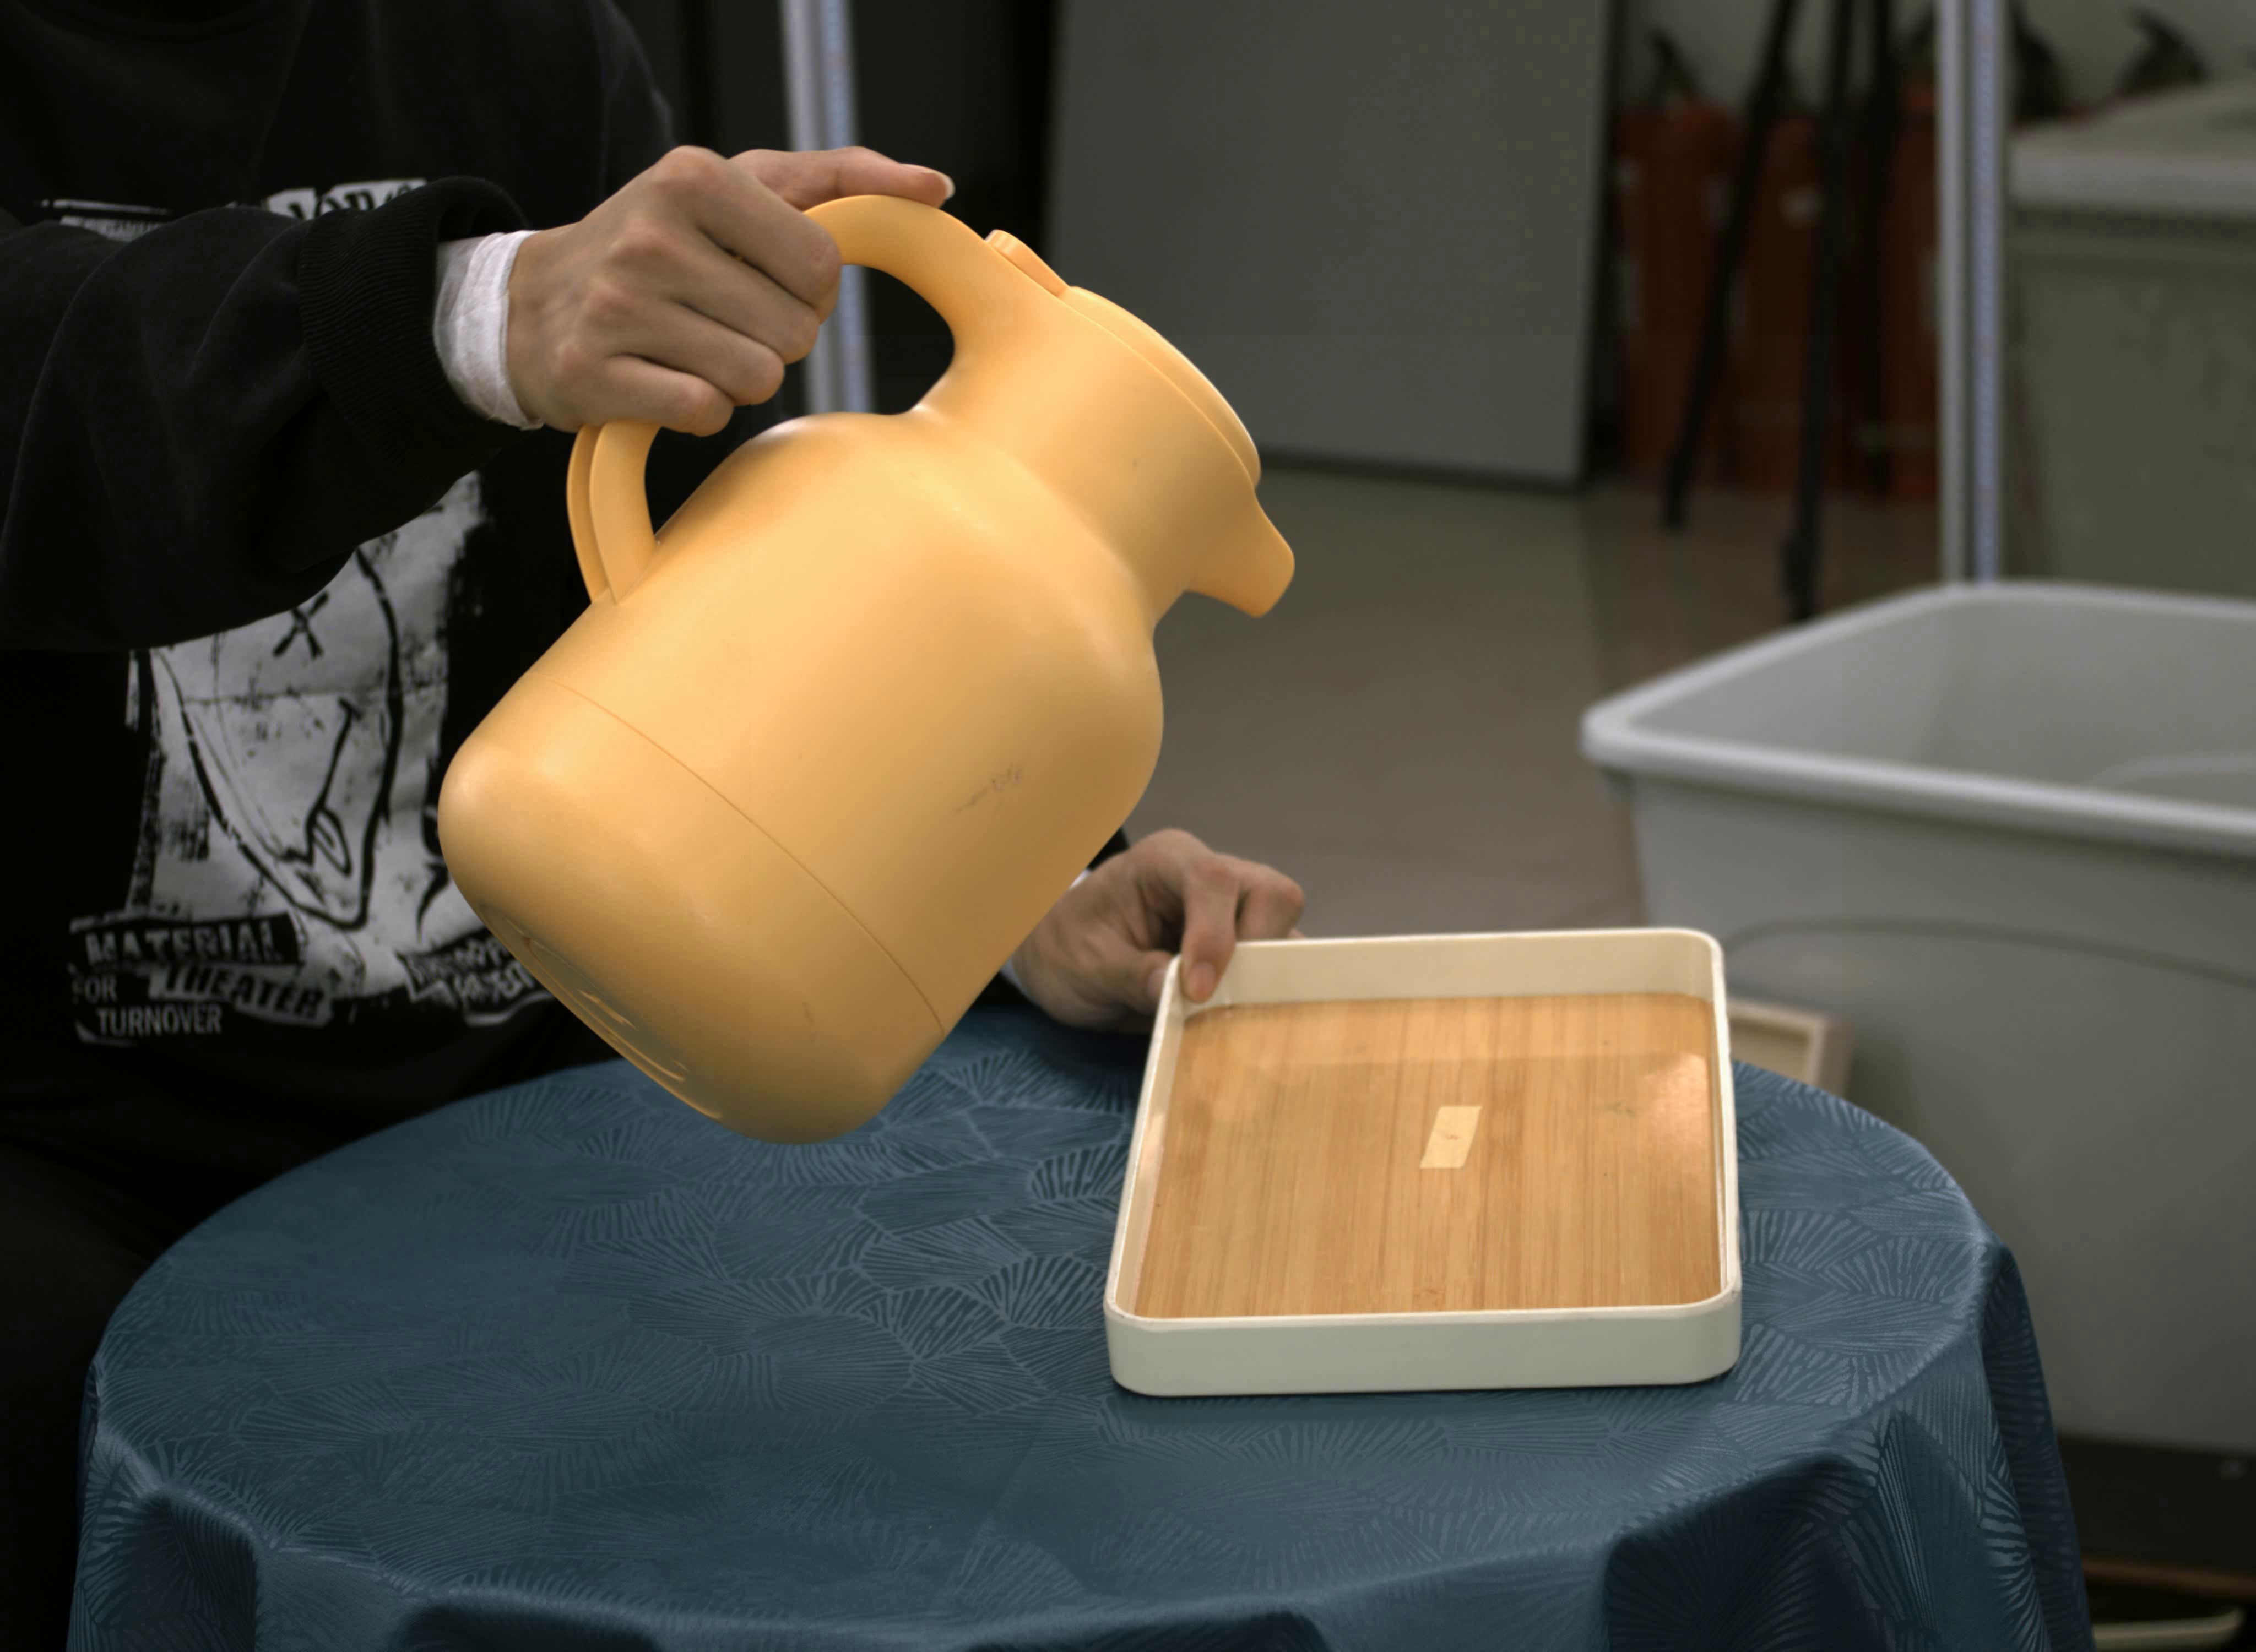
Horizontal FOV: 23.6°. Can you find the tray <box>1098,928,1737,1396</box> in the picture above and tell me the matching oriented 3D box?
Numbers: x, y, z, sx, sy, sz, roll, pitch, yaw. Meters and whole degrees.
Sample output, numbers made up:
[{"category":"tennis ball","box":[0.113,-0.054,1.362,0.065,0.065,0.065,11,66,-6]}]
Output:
[{"category":"tray","box":[0.095,0.101,1.702,0.190,0.027,0.300,-2,20,6]}]

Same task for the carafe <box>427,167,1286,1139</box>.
[{"category":"carafe","box":[-0.088,-0.059,1.582,0.260,0.201,0.165,-49,14,-13]}]
